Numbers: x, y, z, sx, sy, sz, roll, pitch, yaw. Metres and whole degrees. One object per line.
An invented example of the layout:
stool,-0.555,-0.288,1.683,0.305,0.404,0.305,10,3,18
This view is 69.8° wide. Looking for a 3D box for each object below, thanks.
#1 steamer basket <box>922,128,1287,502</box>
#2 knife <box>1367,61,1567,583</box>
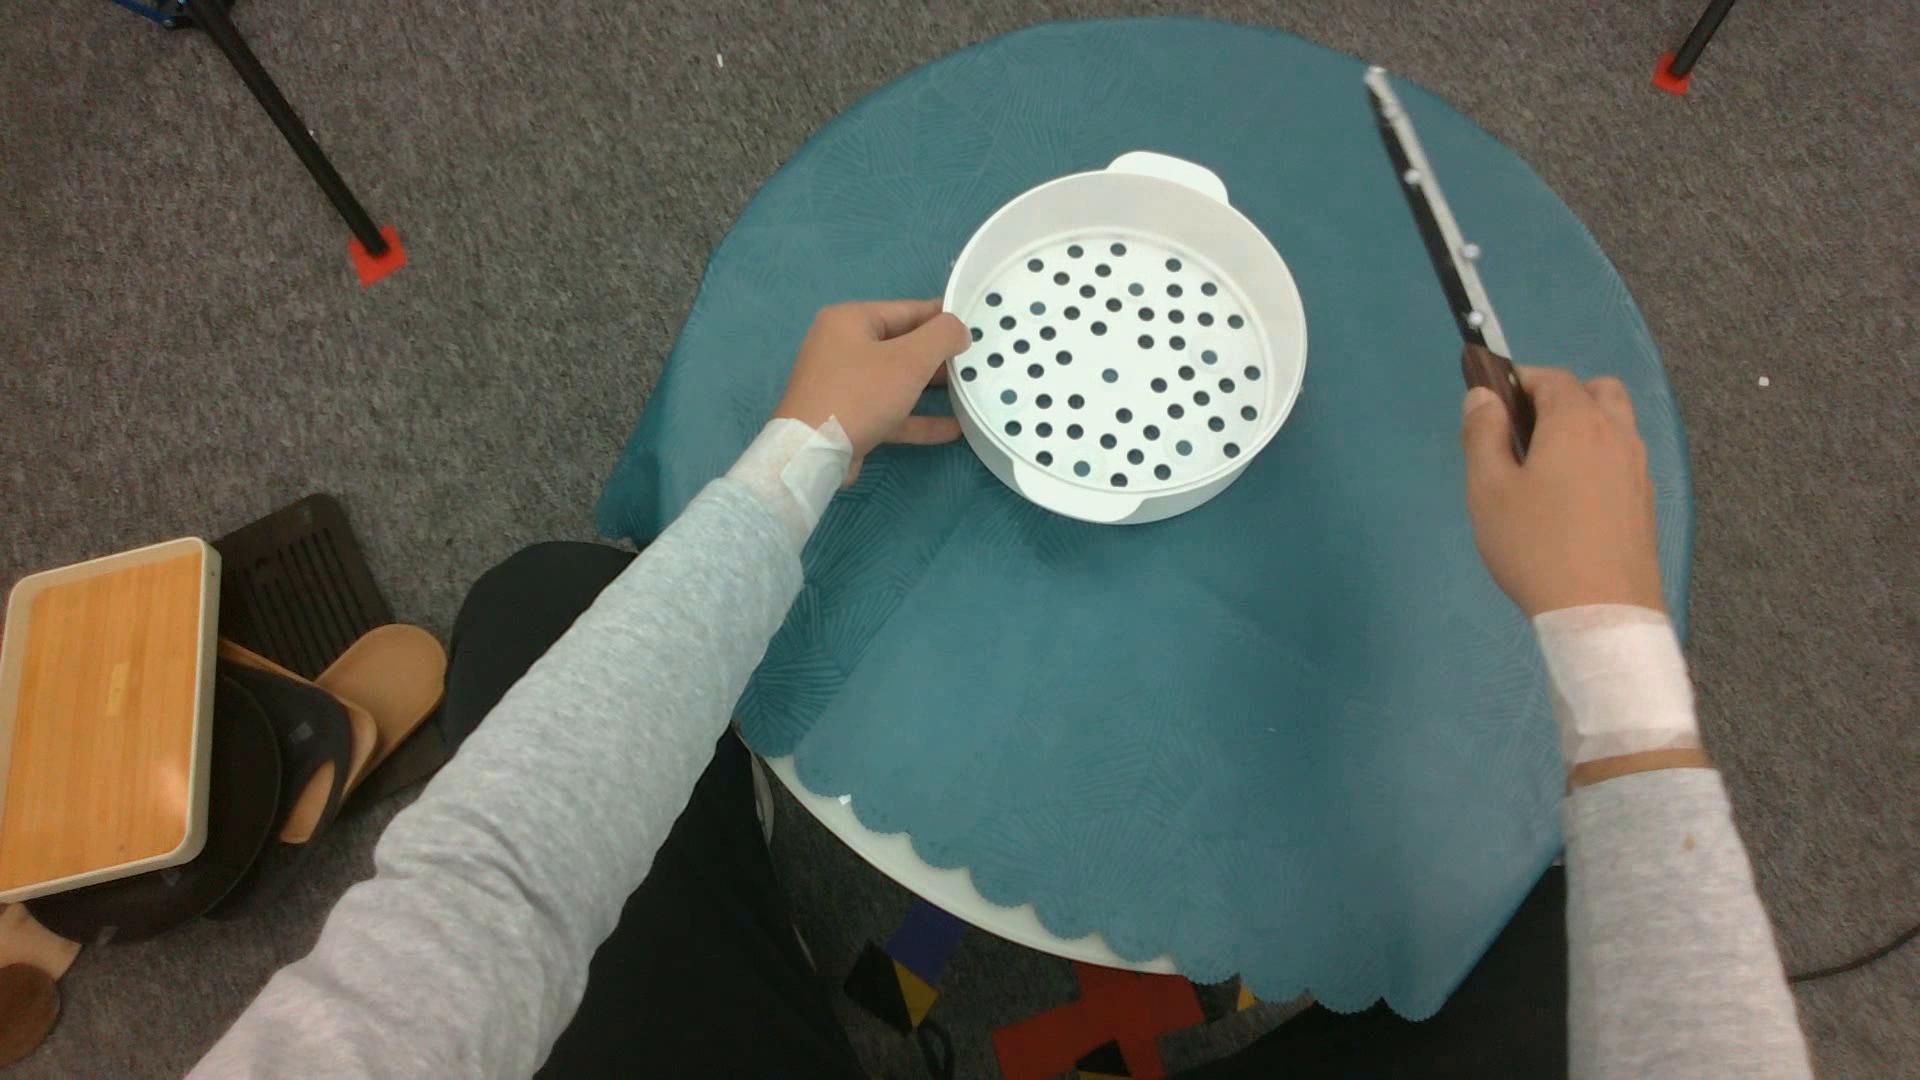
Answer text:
steamer basket,0.079,-0.121,0.784,0.202,0.069,0.231,16,72,3
knife,0.244,-0.116,0.679,0.050,0.020,0.290,5,66,-42
